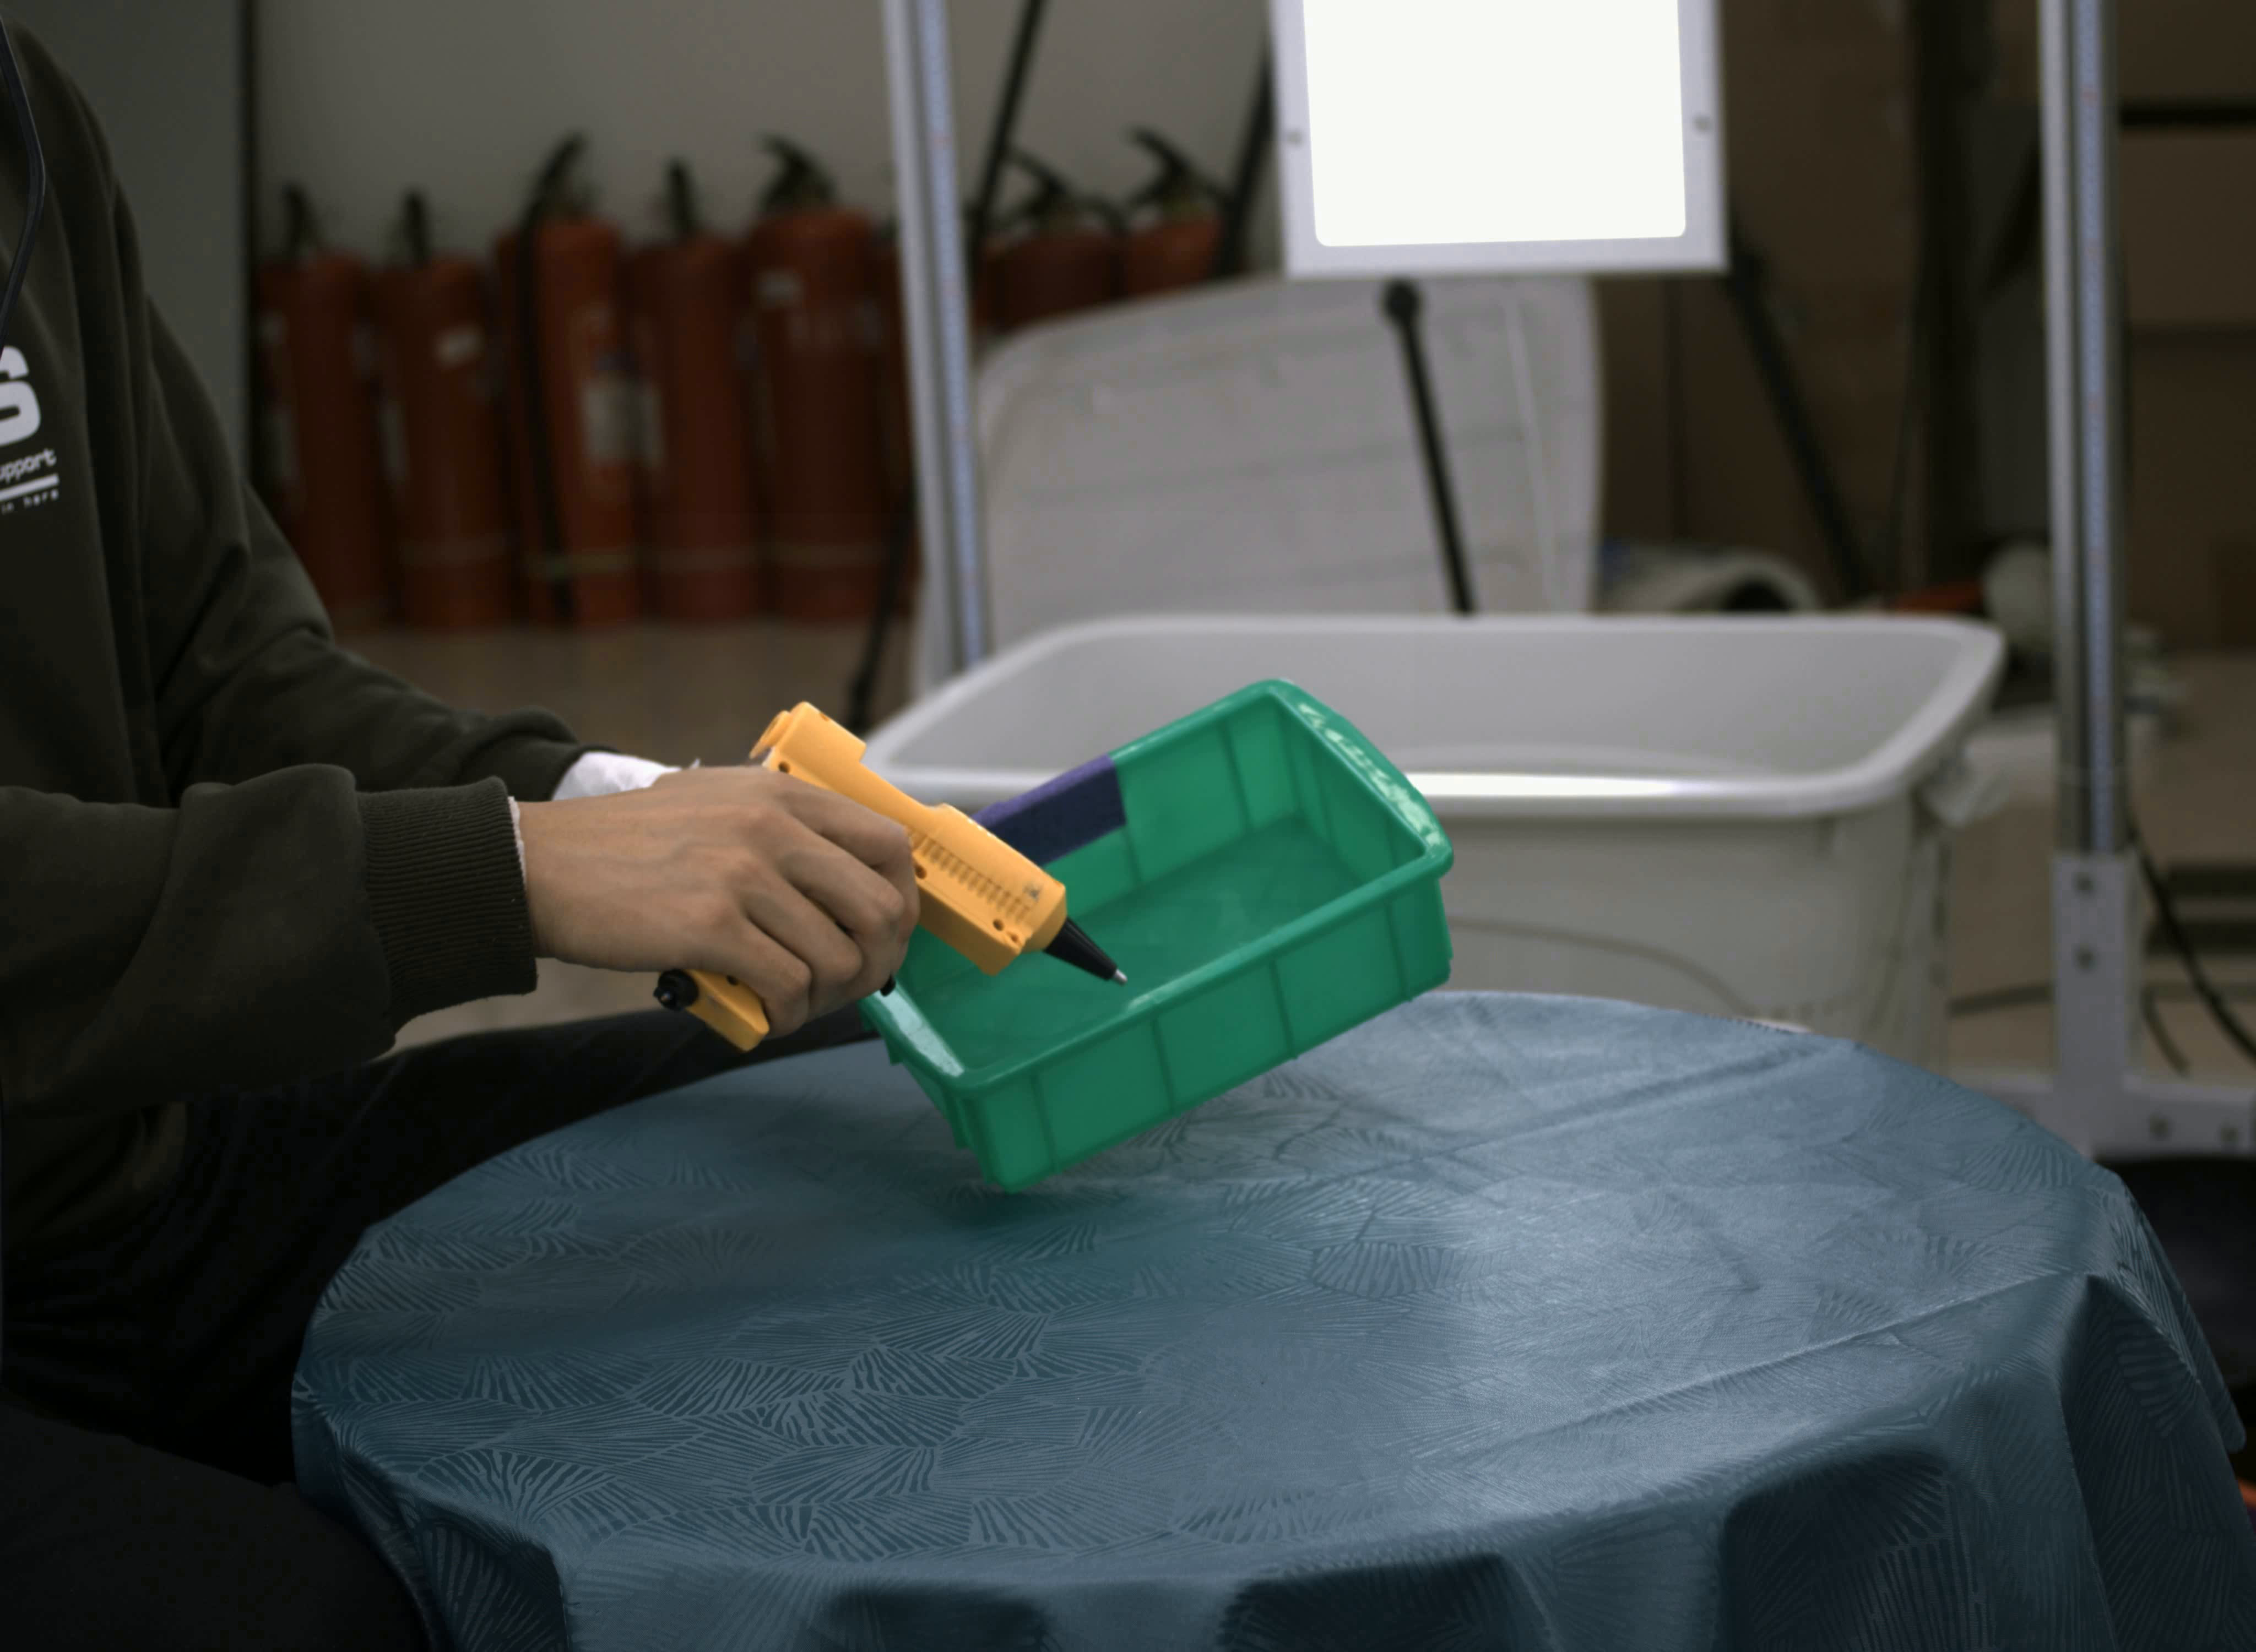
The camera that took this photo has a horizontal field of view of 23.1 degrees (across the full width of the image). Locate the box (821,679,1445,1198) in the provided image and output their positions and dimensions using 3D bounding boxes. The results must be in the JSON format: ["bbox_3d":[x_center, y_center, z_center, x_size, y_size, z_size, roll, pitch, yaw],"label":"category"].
[{"bbox_3d":[0.004,0.041,1.954,0.208,0.065,0.140,-28,37,-12],"label":"box"}]

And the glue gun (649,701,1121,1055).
[{"bbox_3d":[-0.076,0.043,1.848,0.032,0.150,0.131,-45,18,51],"label":"glue gun"}]
